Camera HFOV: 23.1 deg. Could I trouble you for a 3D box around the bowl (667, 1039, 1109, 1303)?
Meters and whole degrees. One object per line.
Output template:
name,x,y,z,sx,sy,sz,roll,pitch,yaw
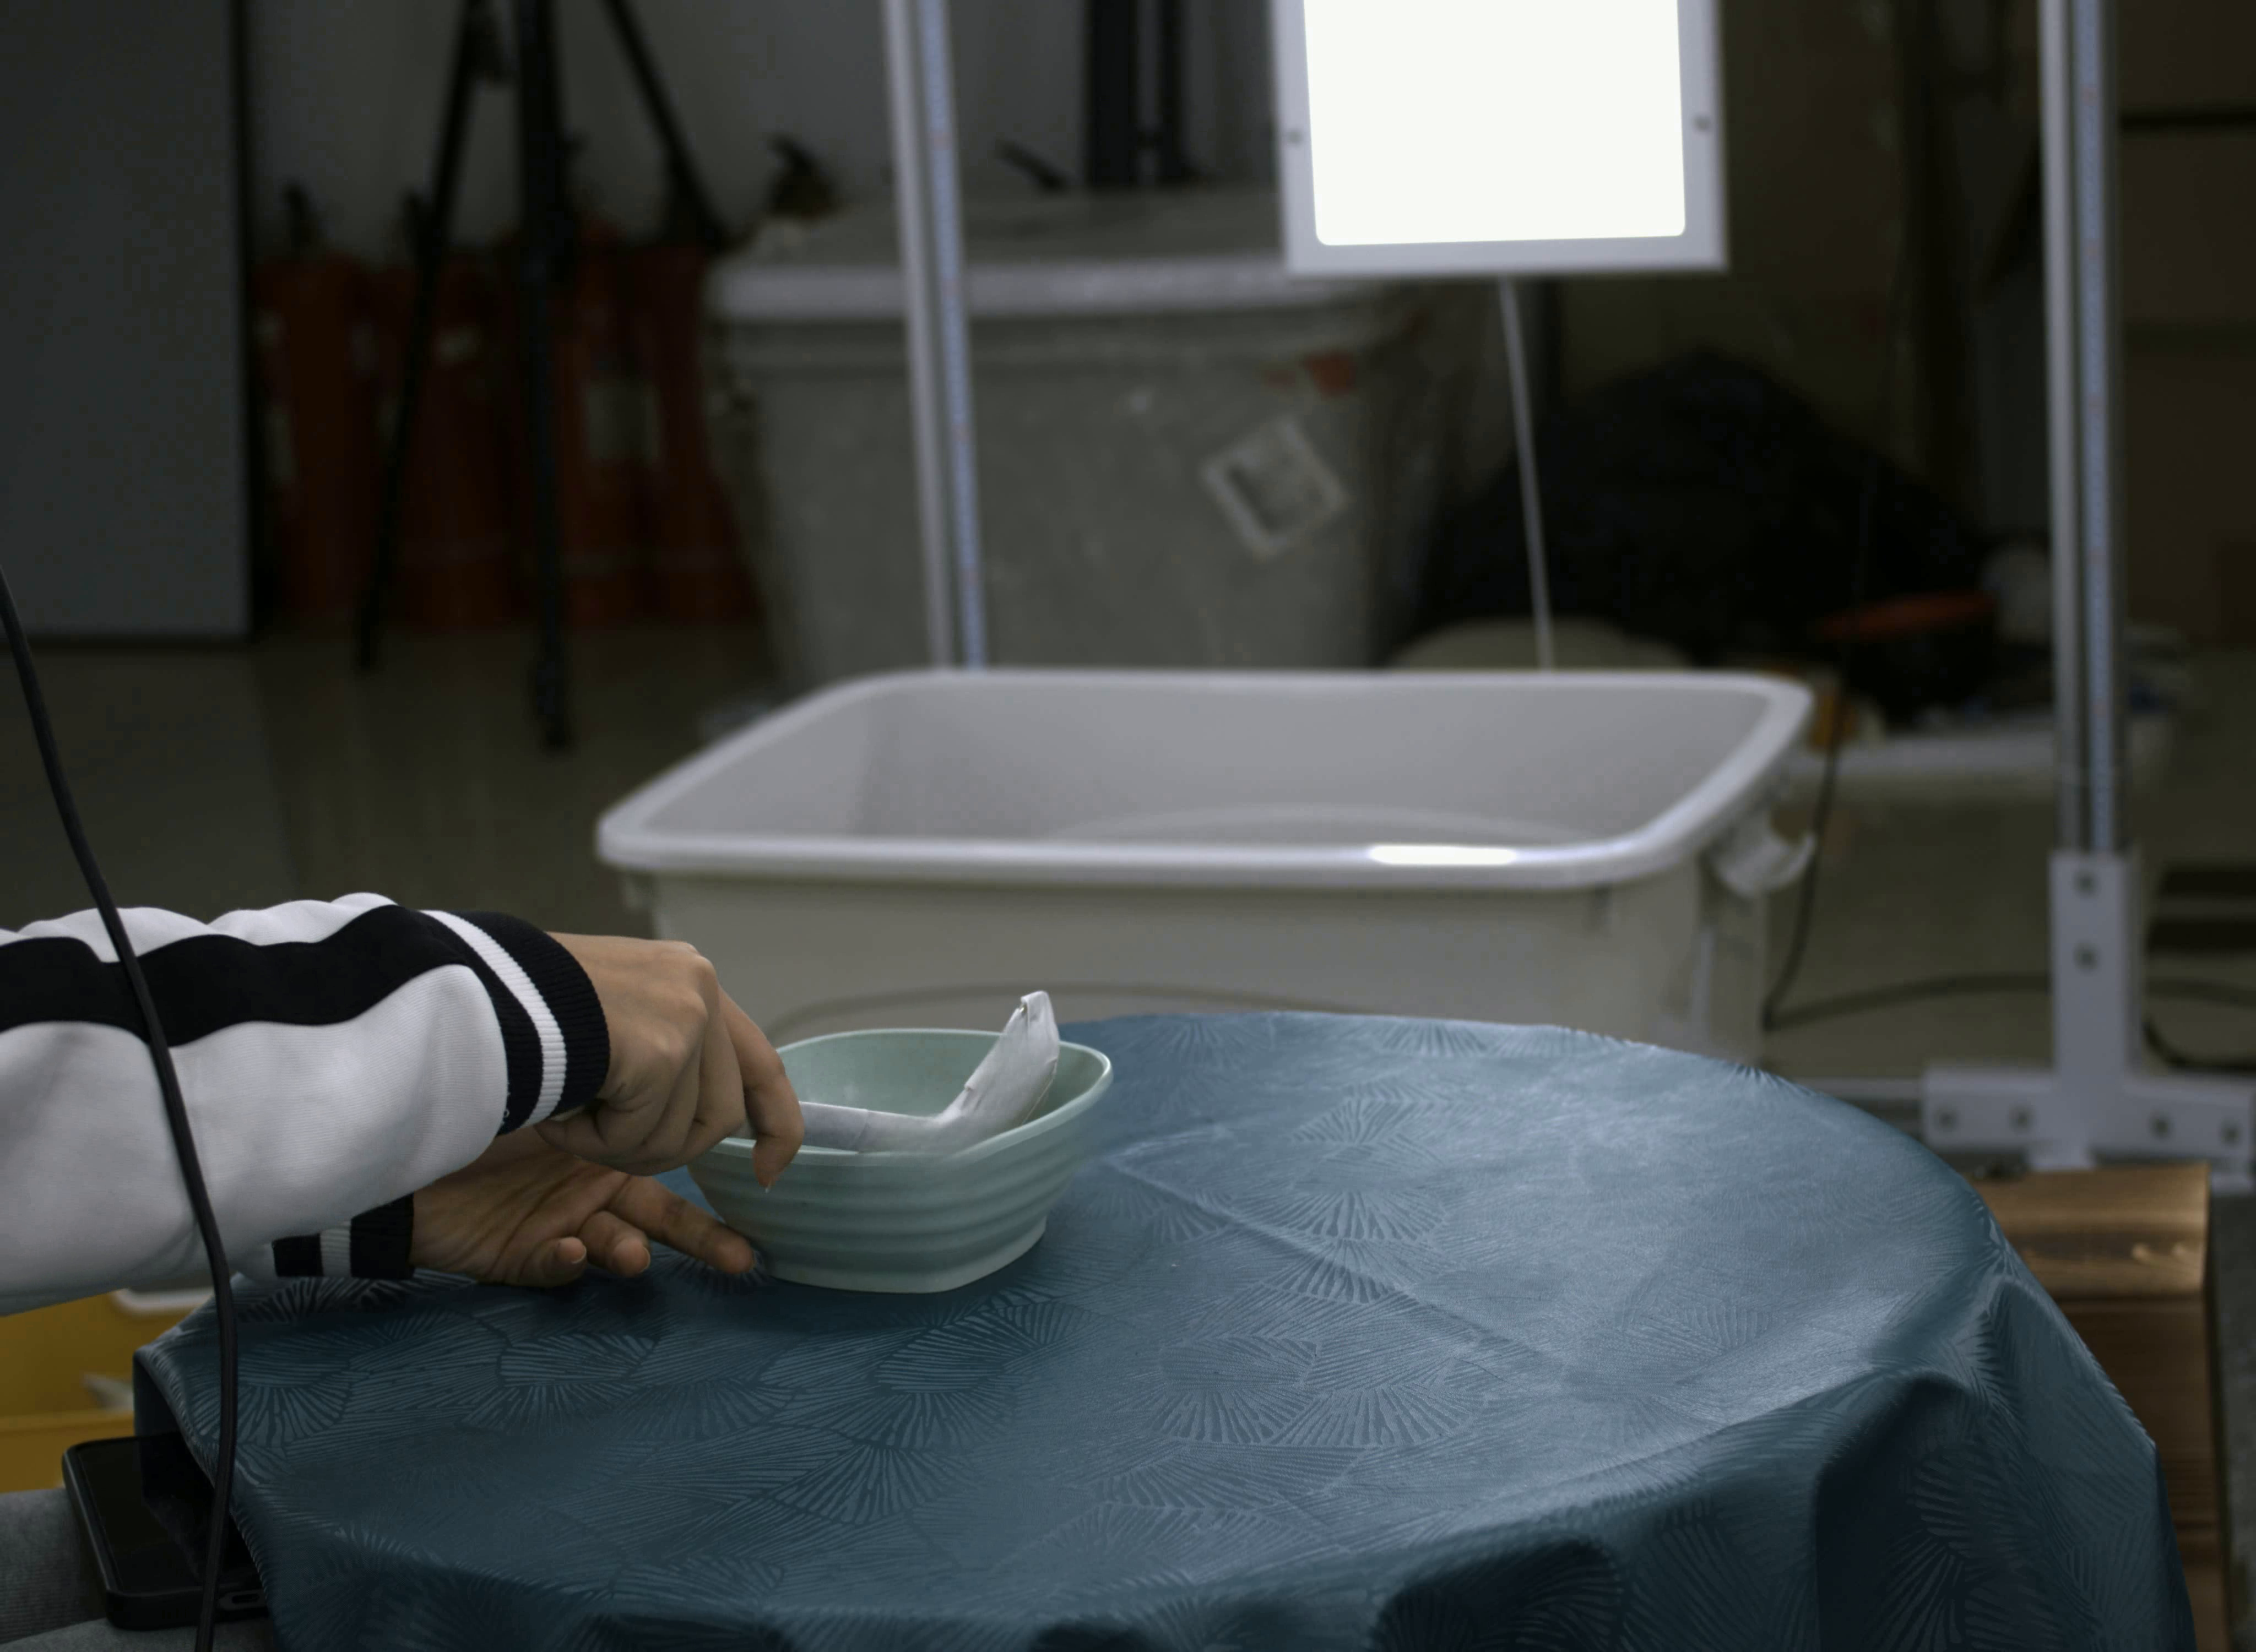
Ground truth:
bowl,-0.078,0.119,1.850,0.151,0.059,0.151,-6,14,0

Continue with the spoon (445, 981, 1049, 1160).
spoon,-0.123,0.089,1.772,0.270,0.101,0.060,7,20,-43
